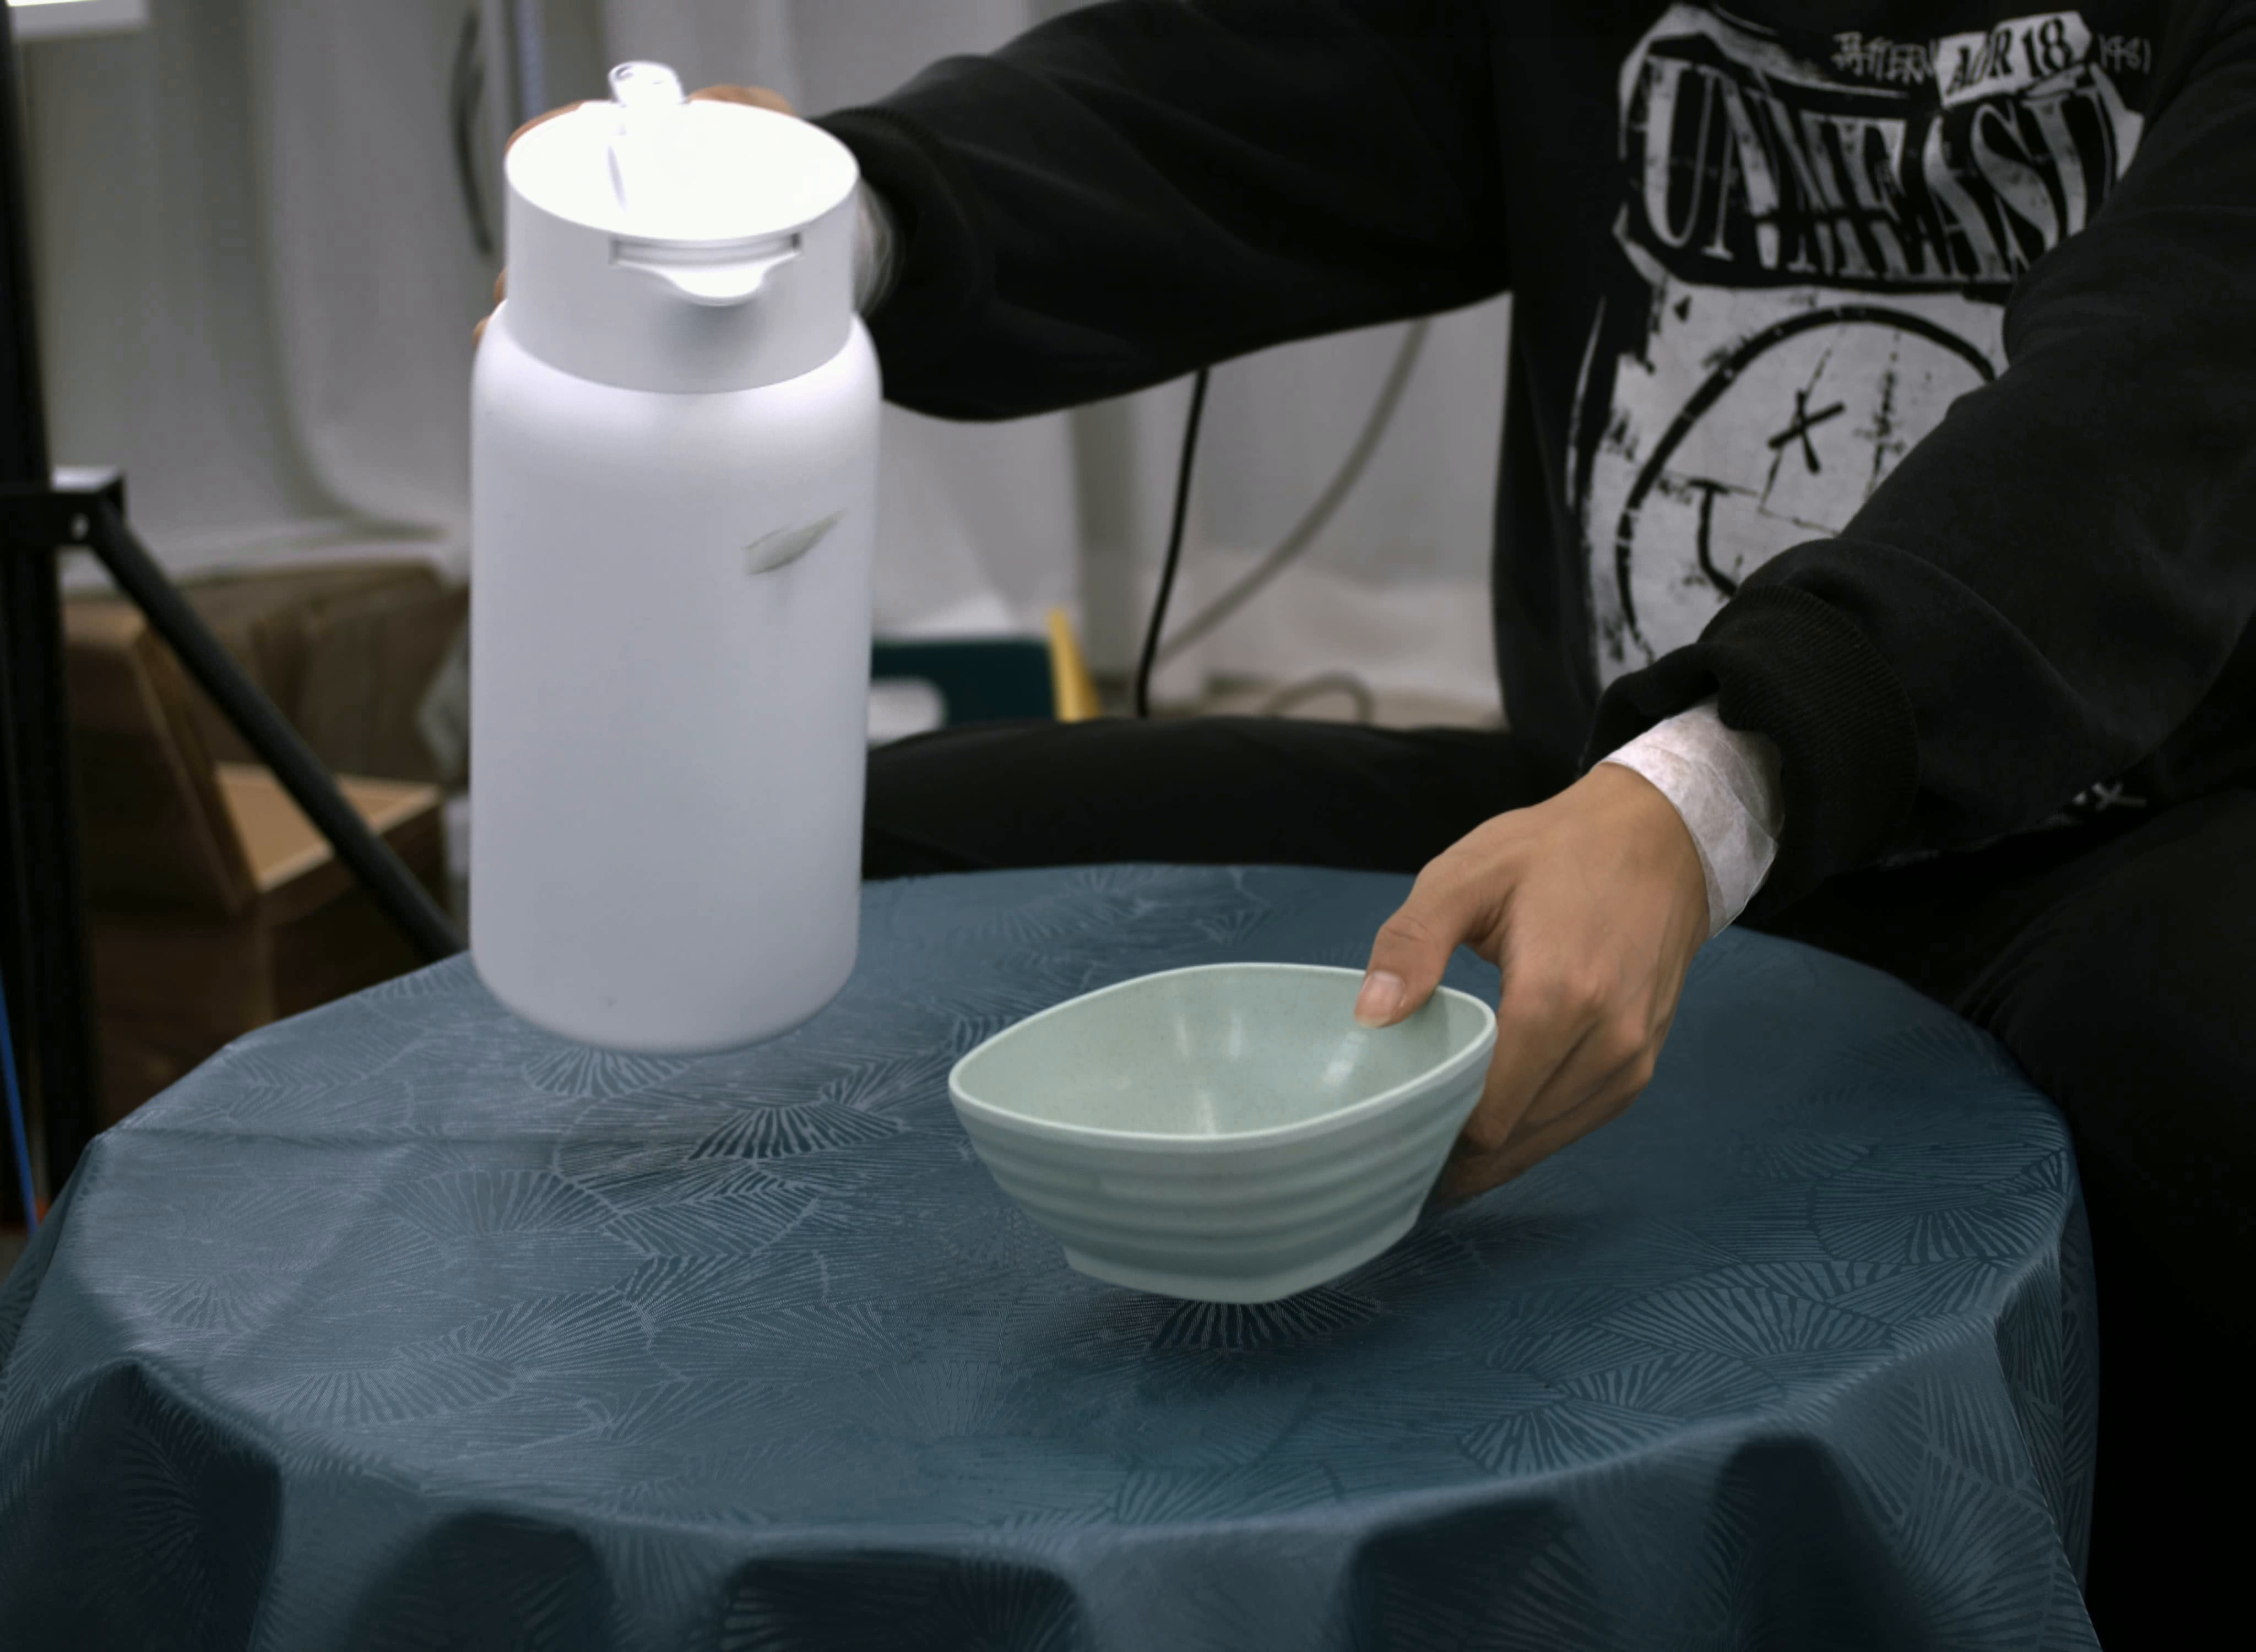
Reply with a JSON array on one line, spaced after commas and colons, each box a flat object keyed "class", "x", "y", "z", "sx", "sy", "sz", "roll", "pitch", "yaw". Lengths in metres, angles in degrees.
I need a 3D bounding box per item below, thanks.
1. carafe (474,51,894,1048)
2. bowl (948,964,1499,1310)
[{"class": "carafe", "x": -0.135, "y": -0.083, "z": 1.567, "sx": 0.122, "sy": 0.268, "sz": 0.176, "roll": -6, "pitch": 32, "yaw": -14}, {"class": "bowl", "x": 0.029, "y": 0.088, "z": 1.449, "sx": 0.151, "sy": 0.058, "sz": 0.152, "roll": -6, "pitch": 16, "yaw": 0}]
